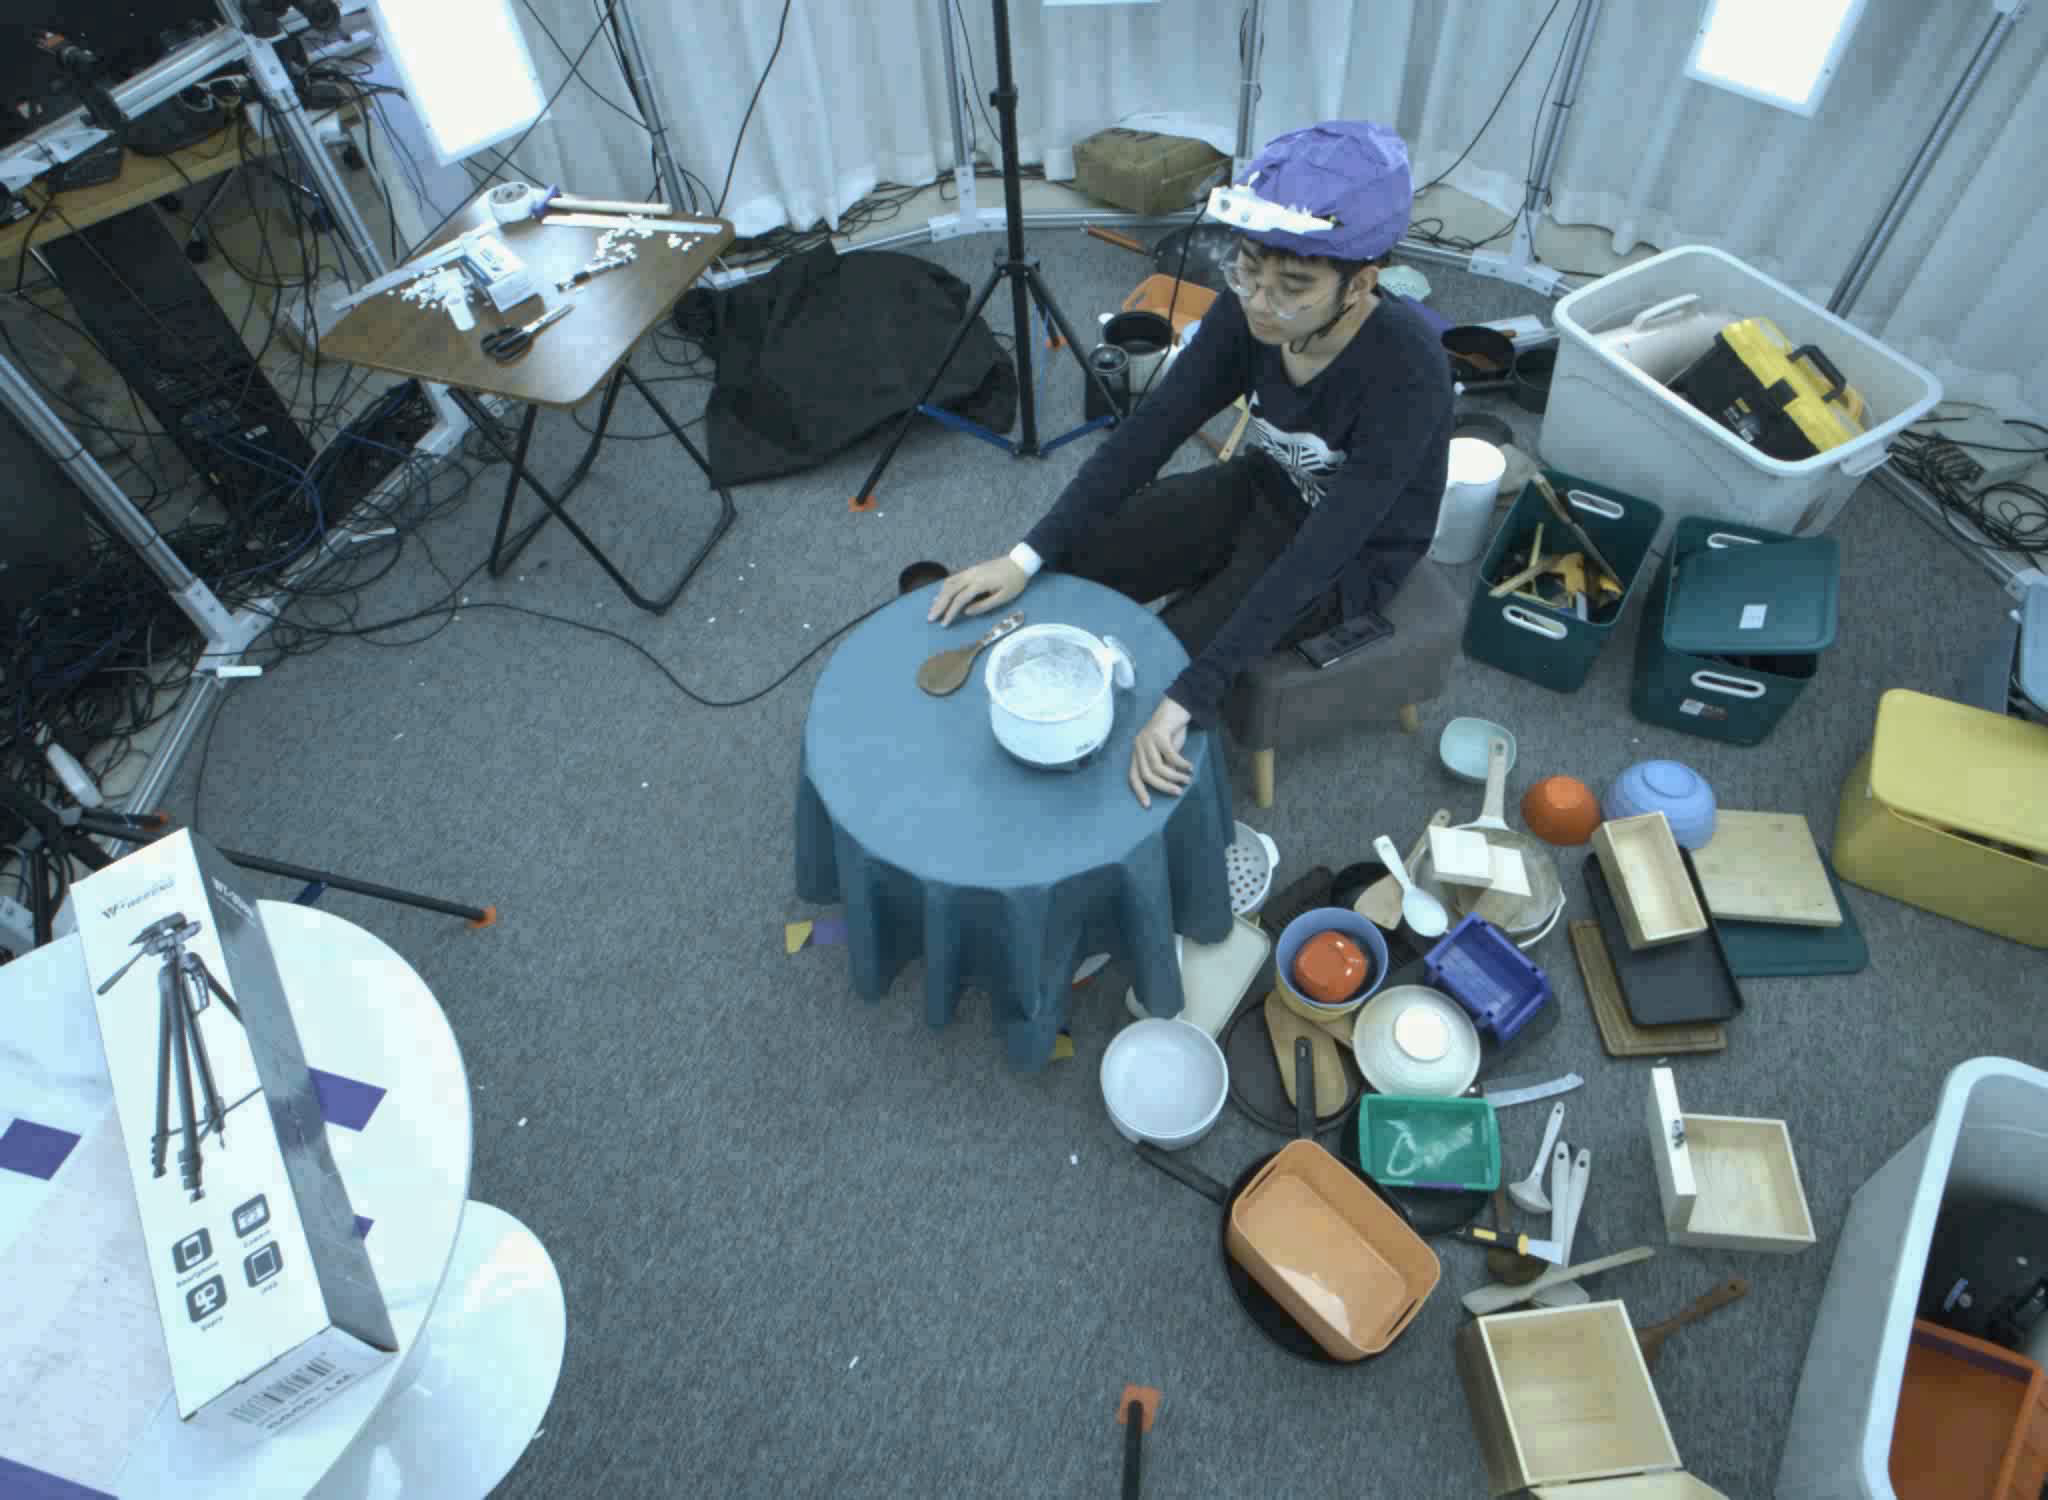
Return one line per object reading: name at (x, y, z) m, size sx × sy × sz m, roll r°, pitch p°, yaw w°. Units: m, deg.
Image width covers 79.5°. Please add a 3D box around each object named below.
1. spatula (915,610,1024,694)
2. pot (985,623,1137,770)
spatula at (-0.077, -0.156, 1.905) m, size 0.217 × 0.009 × 0.070 m, roll -39°, pitch 64°, yaw -24°
pot at (0.061, -0.087, 1.769) m, size 0.235 × 0.138 × 0.175 m, roll -31°, pitch 61°, yaw -17°
